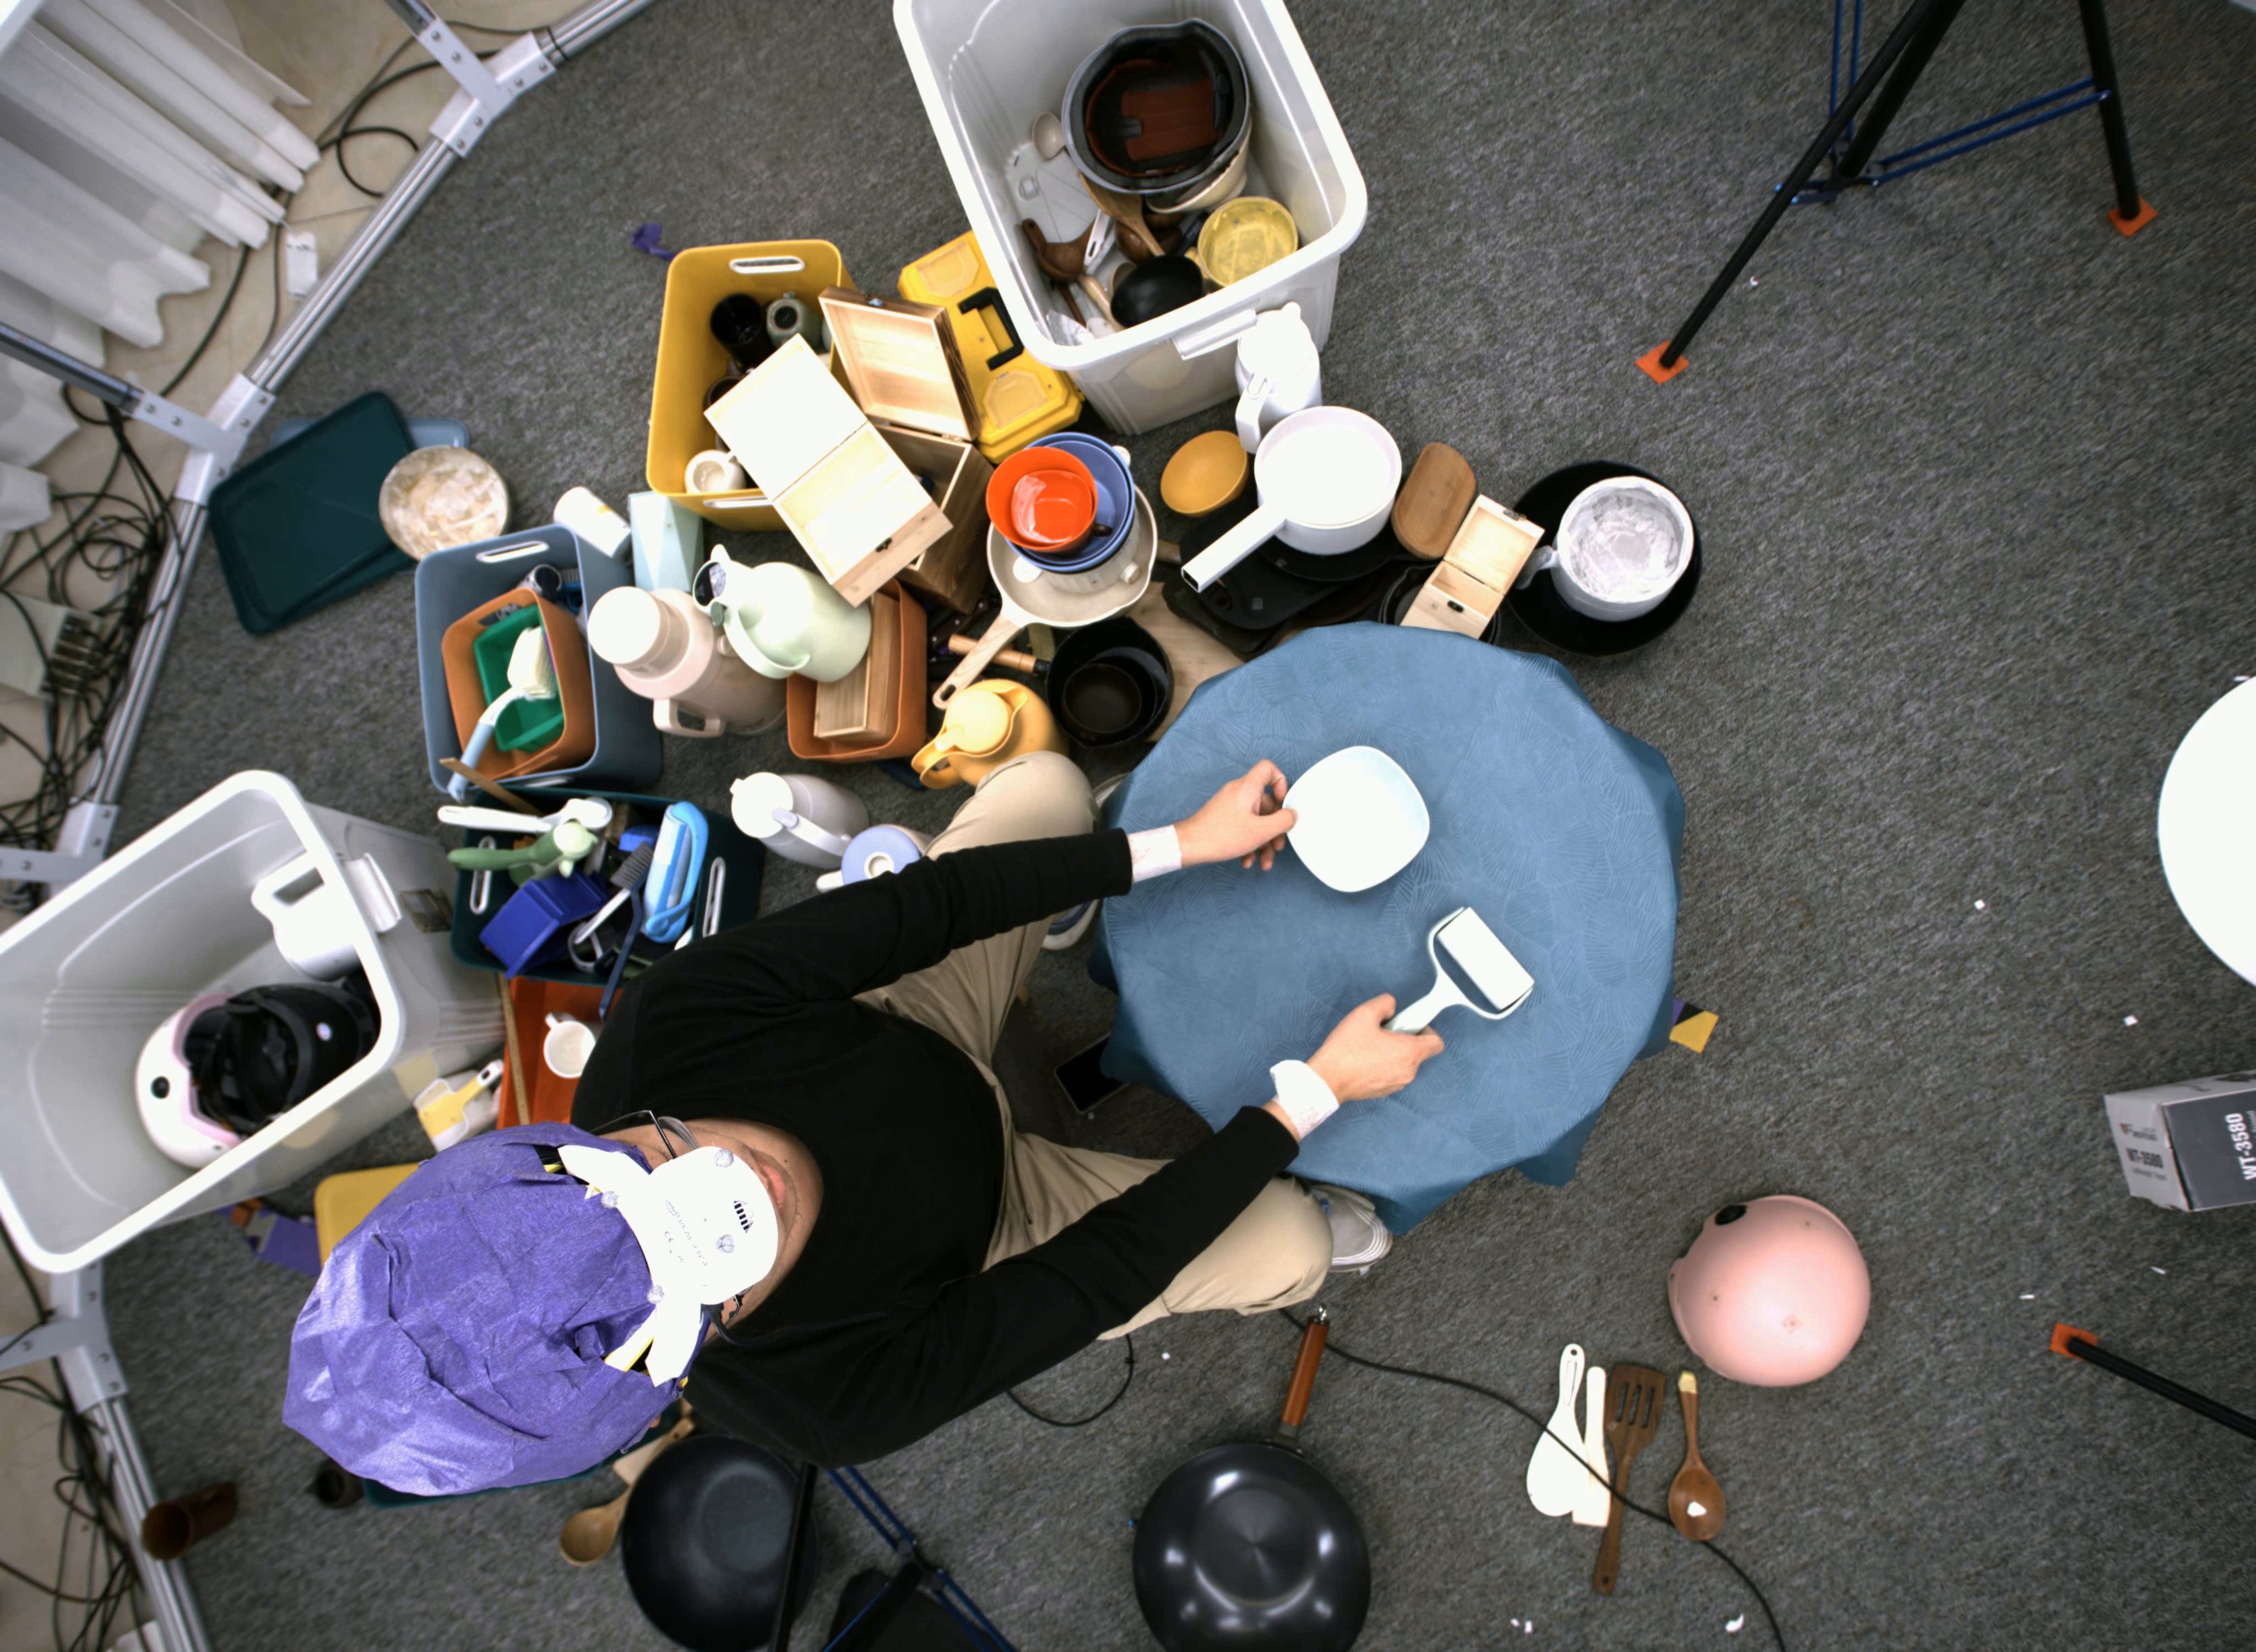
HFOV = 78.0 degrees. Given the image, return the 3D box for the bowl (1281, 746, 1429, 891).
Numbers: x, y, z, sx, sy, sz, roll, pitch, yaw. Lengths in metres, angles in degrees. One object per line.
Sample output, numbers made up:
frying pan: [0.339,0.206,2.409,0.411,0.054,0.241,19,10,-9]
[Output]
bowl: [0.236,-0.006,1.442,0.152,0.058,0.151,-1,87,9]

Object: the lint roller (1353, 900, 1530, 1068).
lint roller: [0.305,0.173,1.408,0.197,0.049,0.116,-39,83,-6]
